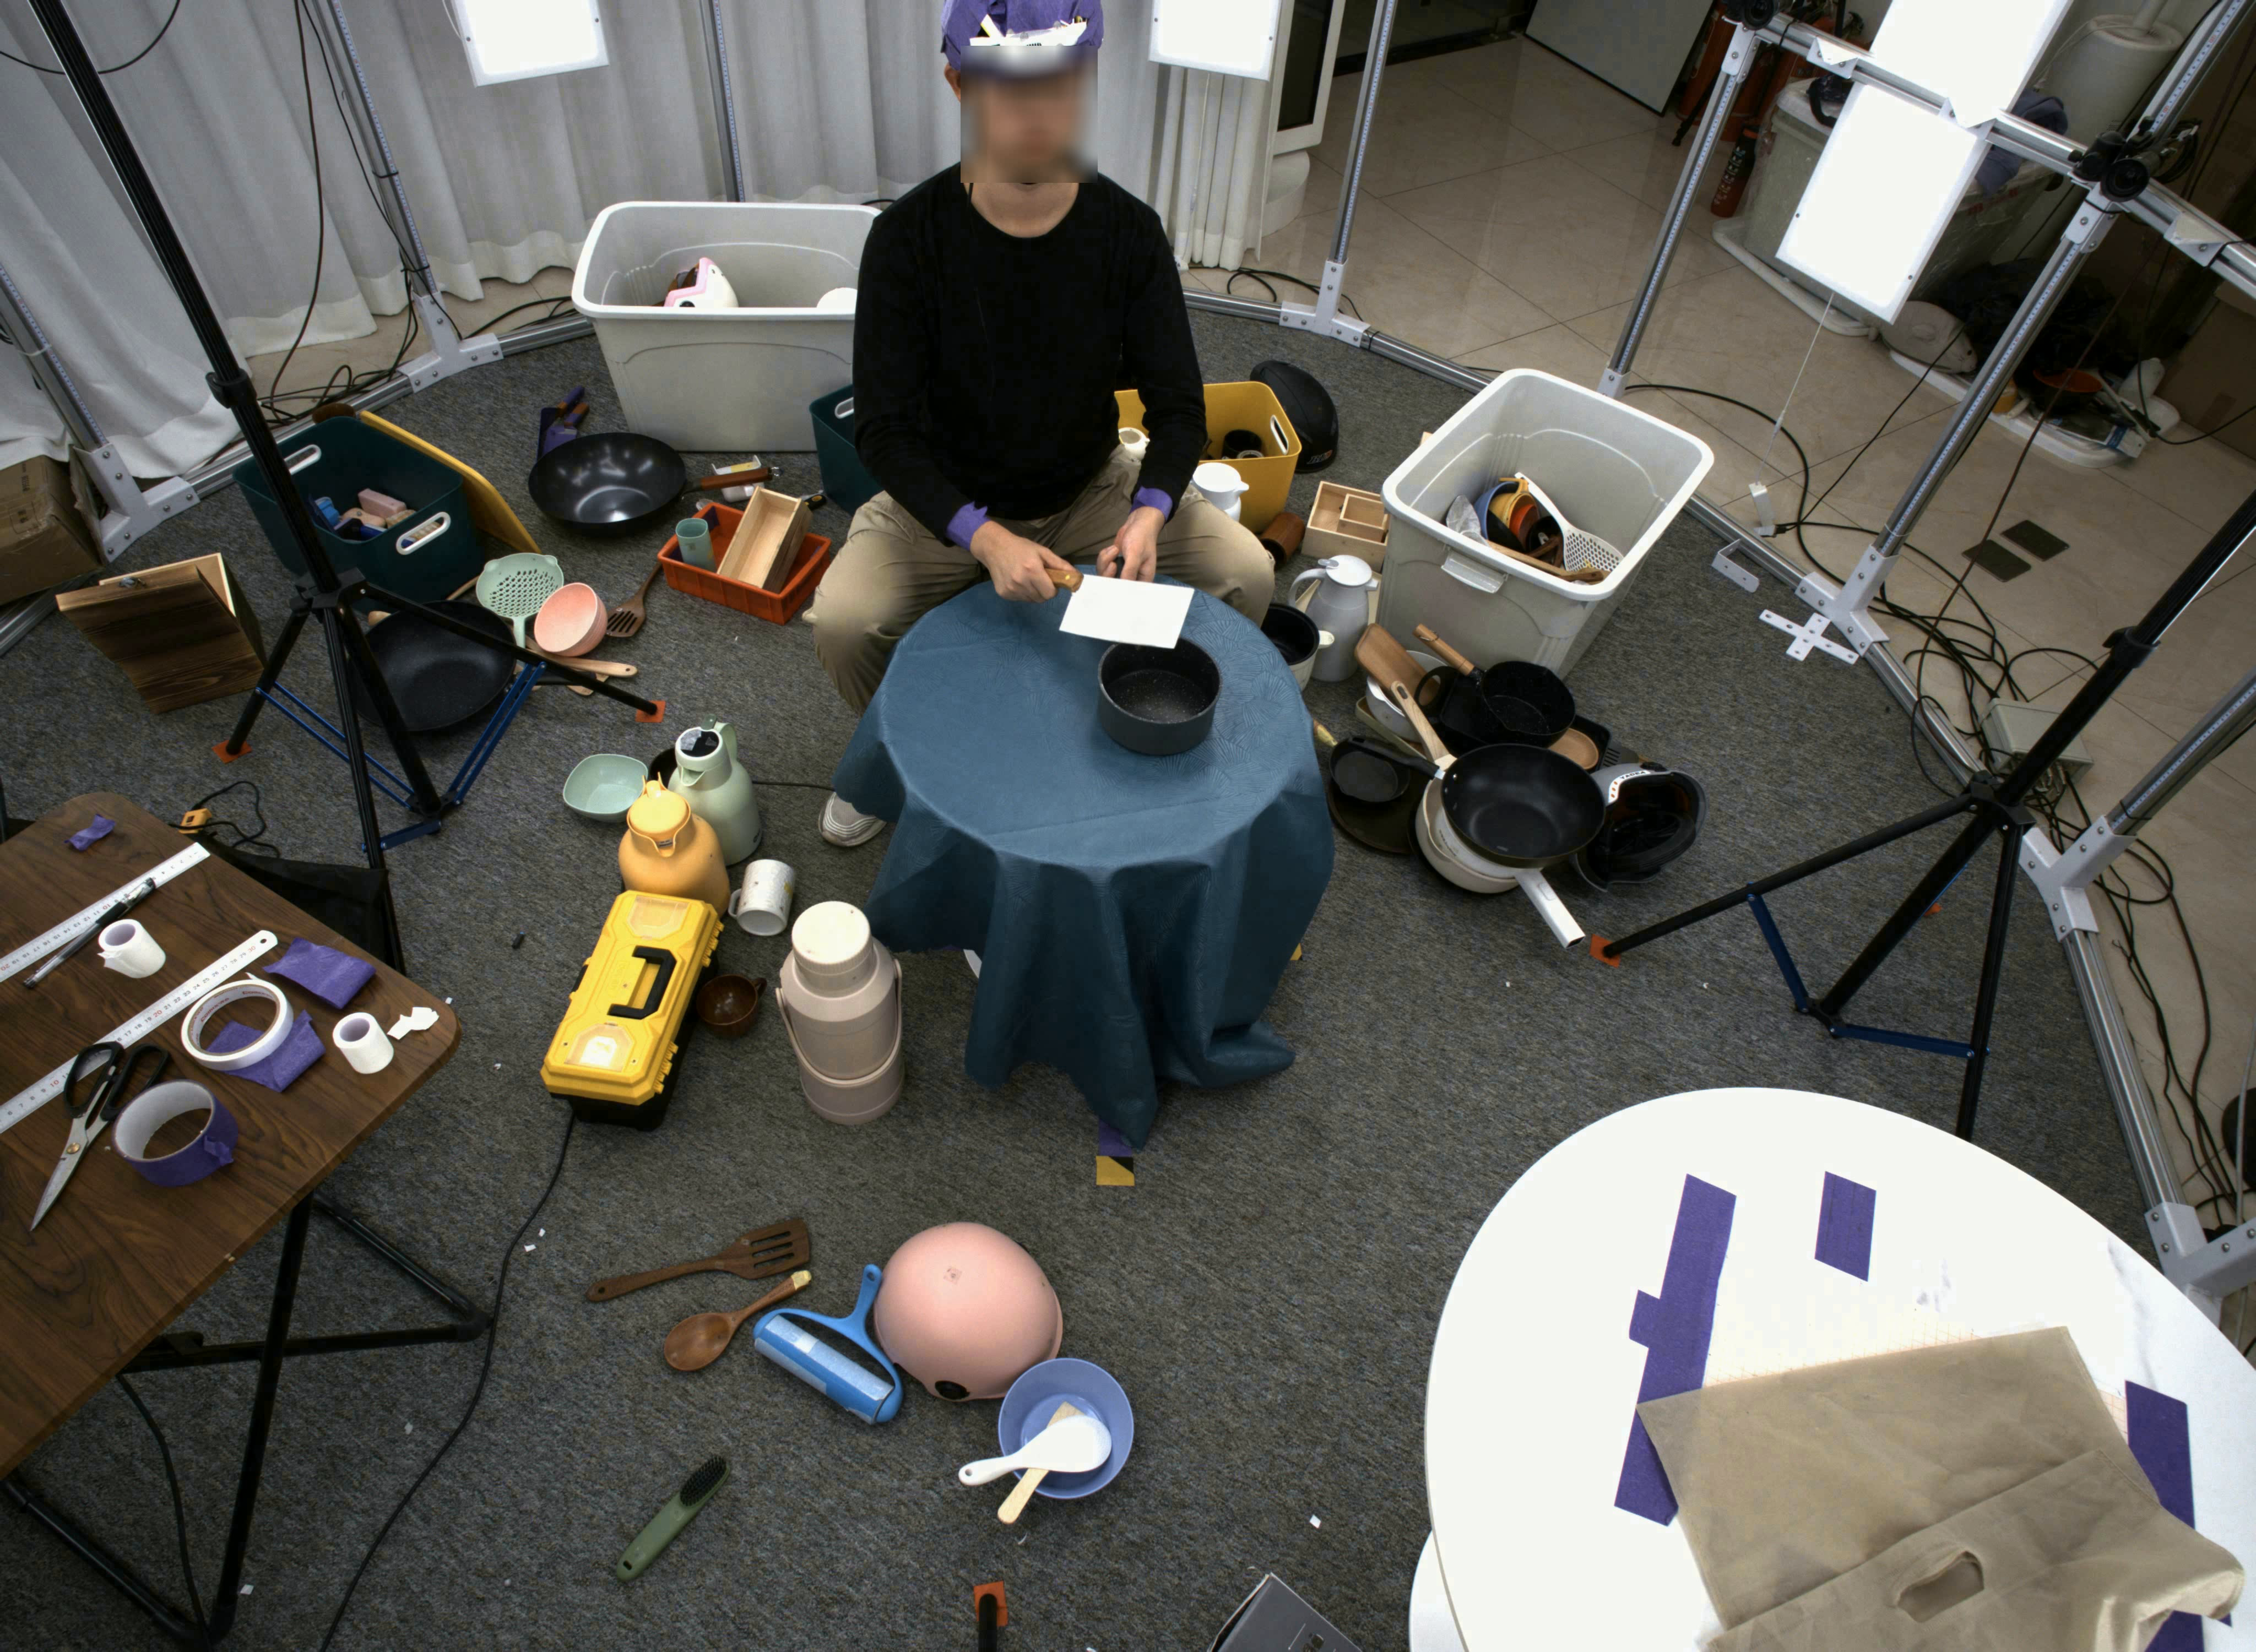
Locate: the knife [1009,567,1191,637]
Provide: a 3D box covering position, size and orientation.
[{"bbox_3d":[-0.051,-0.316,1.821,0.308,0.020,0.094,13,78,31],"label":"knife"}]

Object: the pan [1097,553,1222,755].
[{"bbox_3d":[0.025,-0.247,1.823,0.172,0.084,0.337,-7,53,-10],"label":"pan"}]
